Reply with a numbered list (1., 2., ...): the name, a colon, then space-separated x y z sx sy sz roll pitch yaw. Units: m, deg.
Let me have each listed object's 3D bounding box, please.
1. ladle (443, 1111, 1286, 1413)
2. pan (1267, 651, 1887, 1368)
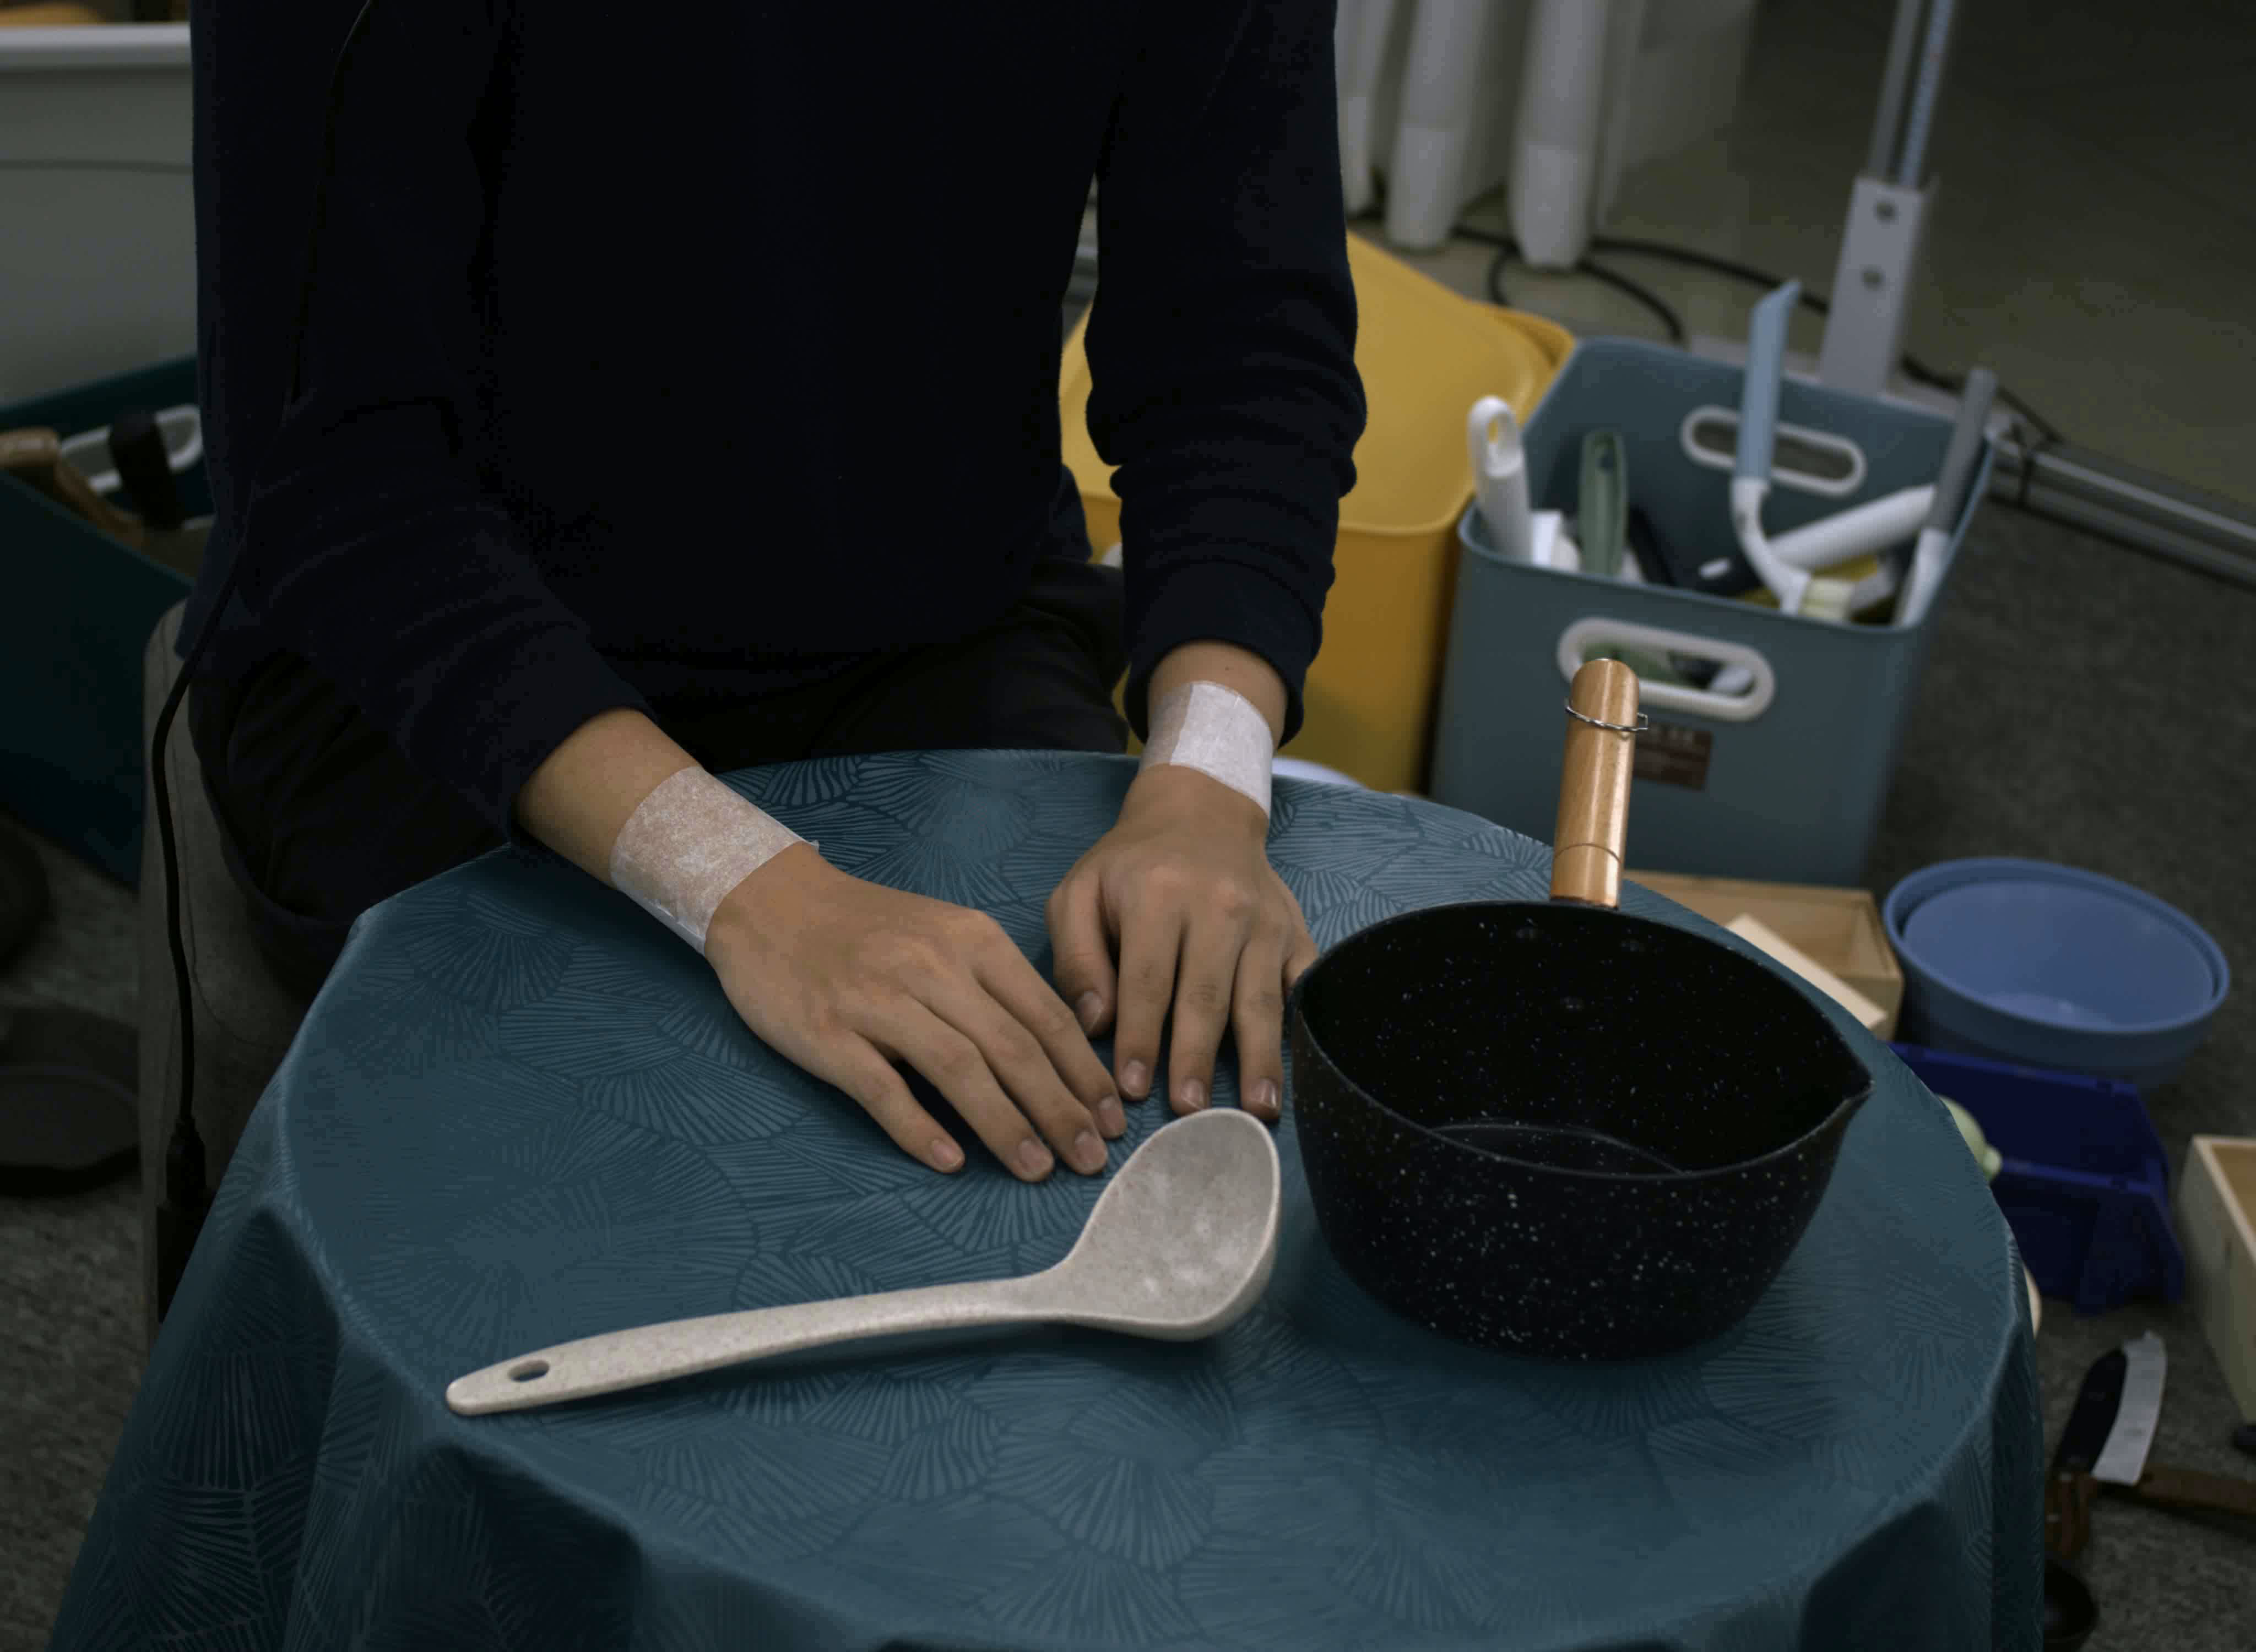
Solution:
1. ladle: -0.081 0.139 1.679 0.273 0.069 0.090 -5 33 -22
2. pan: 0.153 0.059 1.844 0.207 0.108 0.344 7 28 3
